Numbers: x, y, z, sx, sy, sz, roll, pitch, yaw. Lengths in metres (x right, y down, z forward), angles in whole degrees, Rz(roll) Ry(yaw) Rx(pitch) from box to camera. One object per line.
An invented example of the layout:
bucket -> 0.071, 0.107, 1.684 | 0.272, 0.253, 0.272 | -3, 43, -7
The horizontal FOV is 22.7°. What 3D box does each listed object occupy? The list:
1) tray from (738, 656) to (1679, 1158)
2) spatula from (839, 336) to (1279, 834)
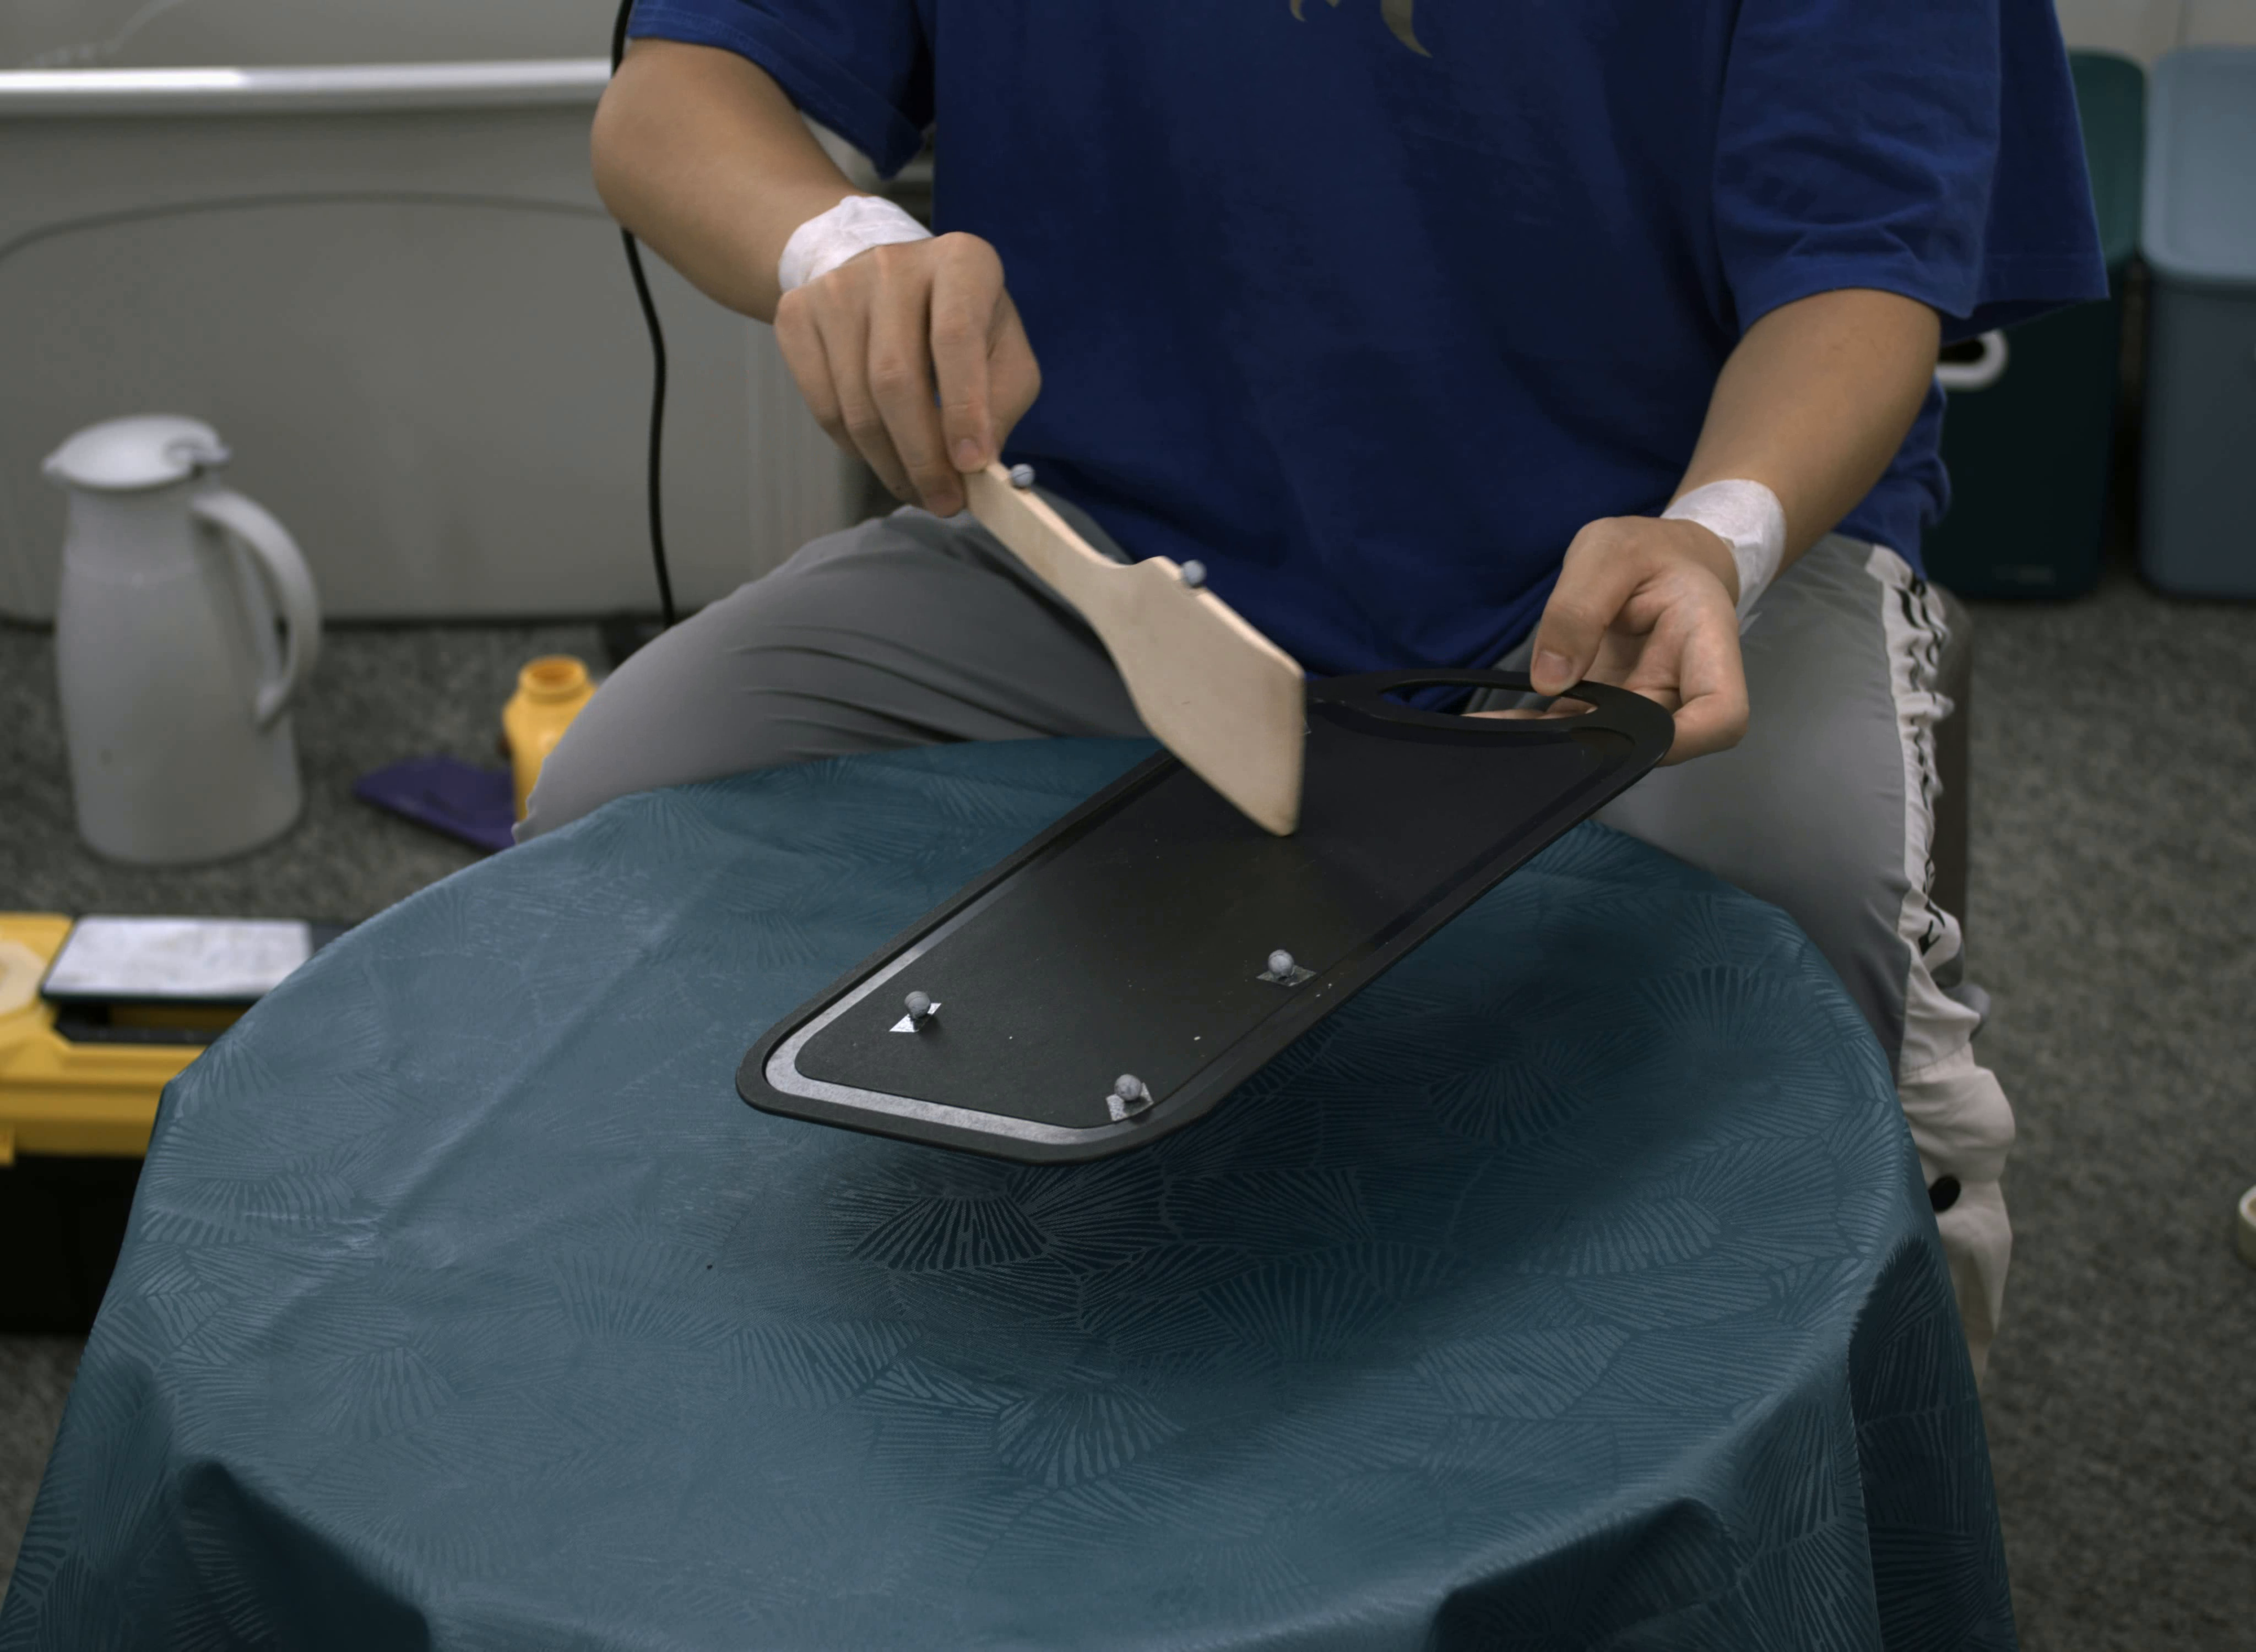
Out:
tray -> 0.033, 0.018, 1.863 | 0.209, 0.010, 0.330 | 7, 33, 46
spatula -> -0.029, -0.097, 1.965 | 0.011, 0.071, 0.295 | -18, 40, -26
